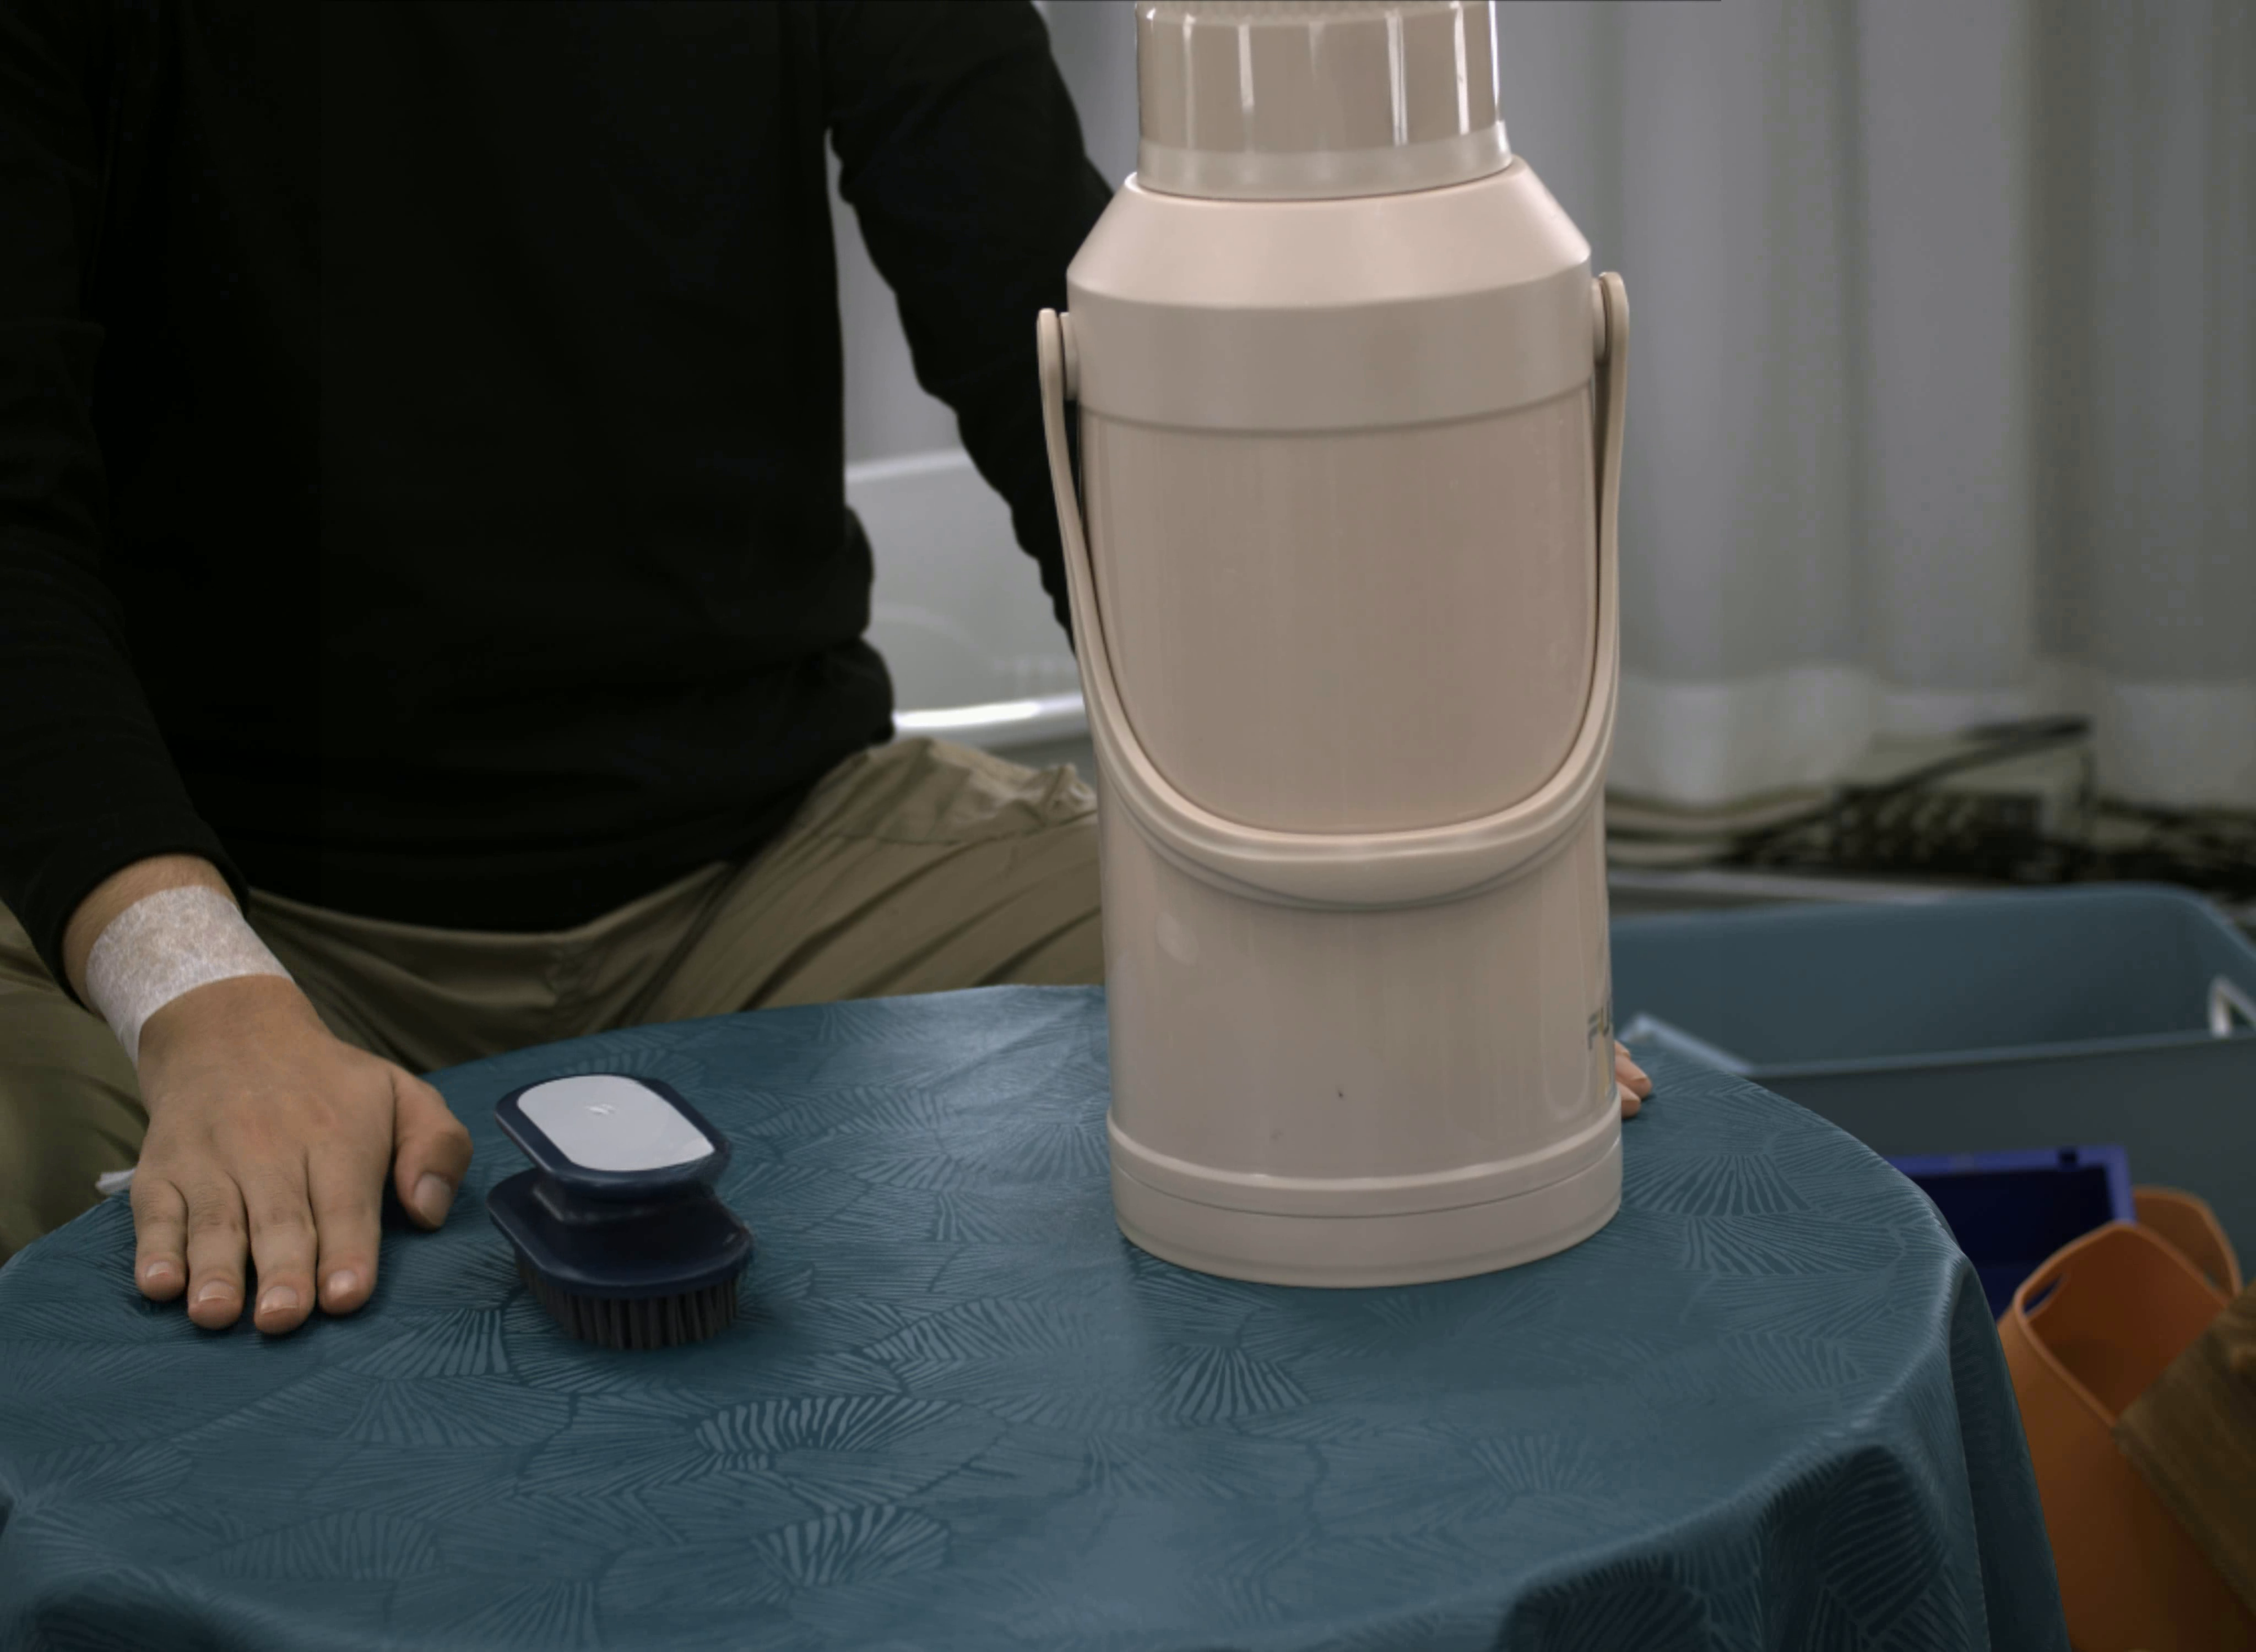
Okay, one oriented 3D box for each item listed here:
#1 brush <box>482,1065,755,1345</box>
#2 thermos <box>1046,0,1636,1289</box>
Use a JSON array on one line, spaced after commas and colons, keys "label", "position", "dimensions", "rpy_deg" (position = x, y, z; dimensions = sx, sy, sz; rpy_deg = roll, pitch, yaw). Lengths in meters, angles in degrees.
[{"label": "brush", "position": [-0.153, 0.115, 1.637], "dimensions": [0.067, 0.061, 0.122], "rpy_deg": [-5, 15, -19]}, {"label": "thermos", "position": [0.067, -0.078, 1.661], "dimensions": [0.174, 0.405, 0.208], "rpy_deg": [-5, 14, -4]}]
